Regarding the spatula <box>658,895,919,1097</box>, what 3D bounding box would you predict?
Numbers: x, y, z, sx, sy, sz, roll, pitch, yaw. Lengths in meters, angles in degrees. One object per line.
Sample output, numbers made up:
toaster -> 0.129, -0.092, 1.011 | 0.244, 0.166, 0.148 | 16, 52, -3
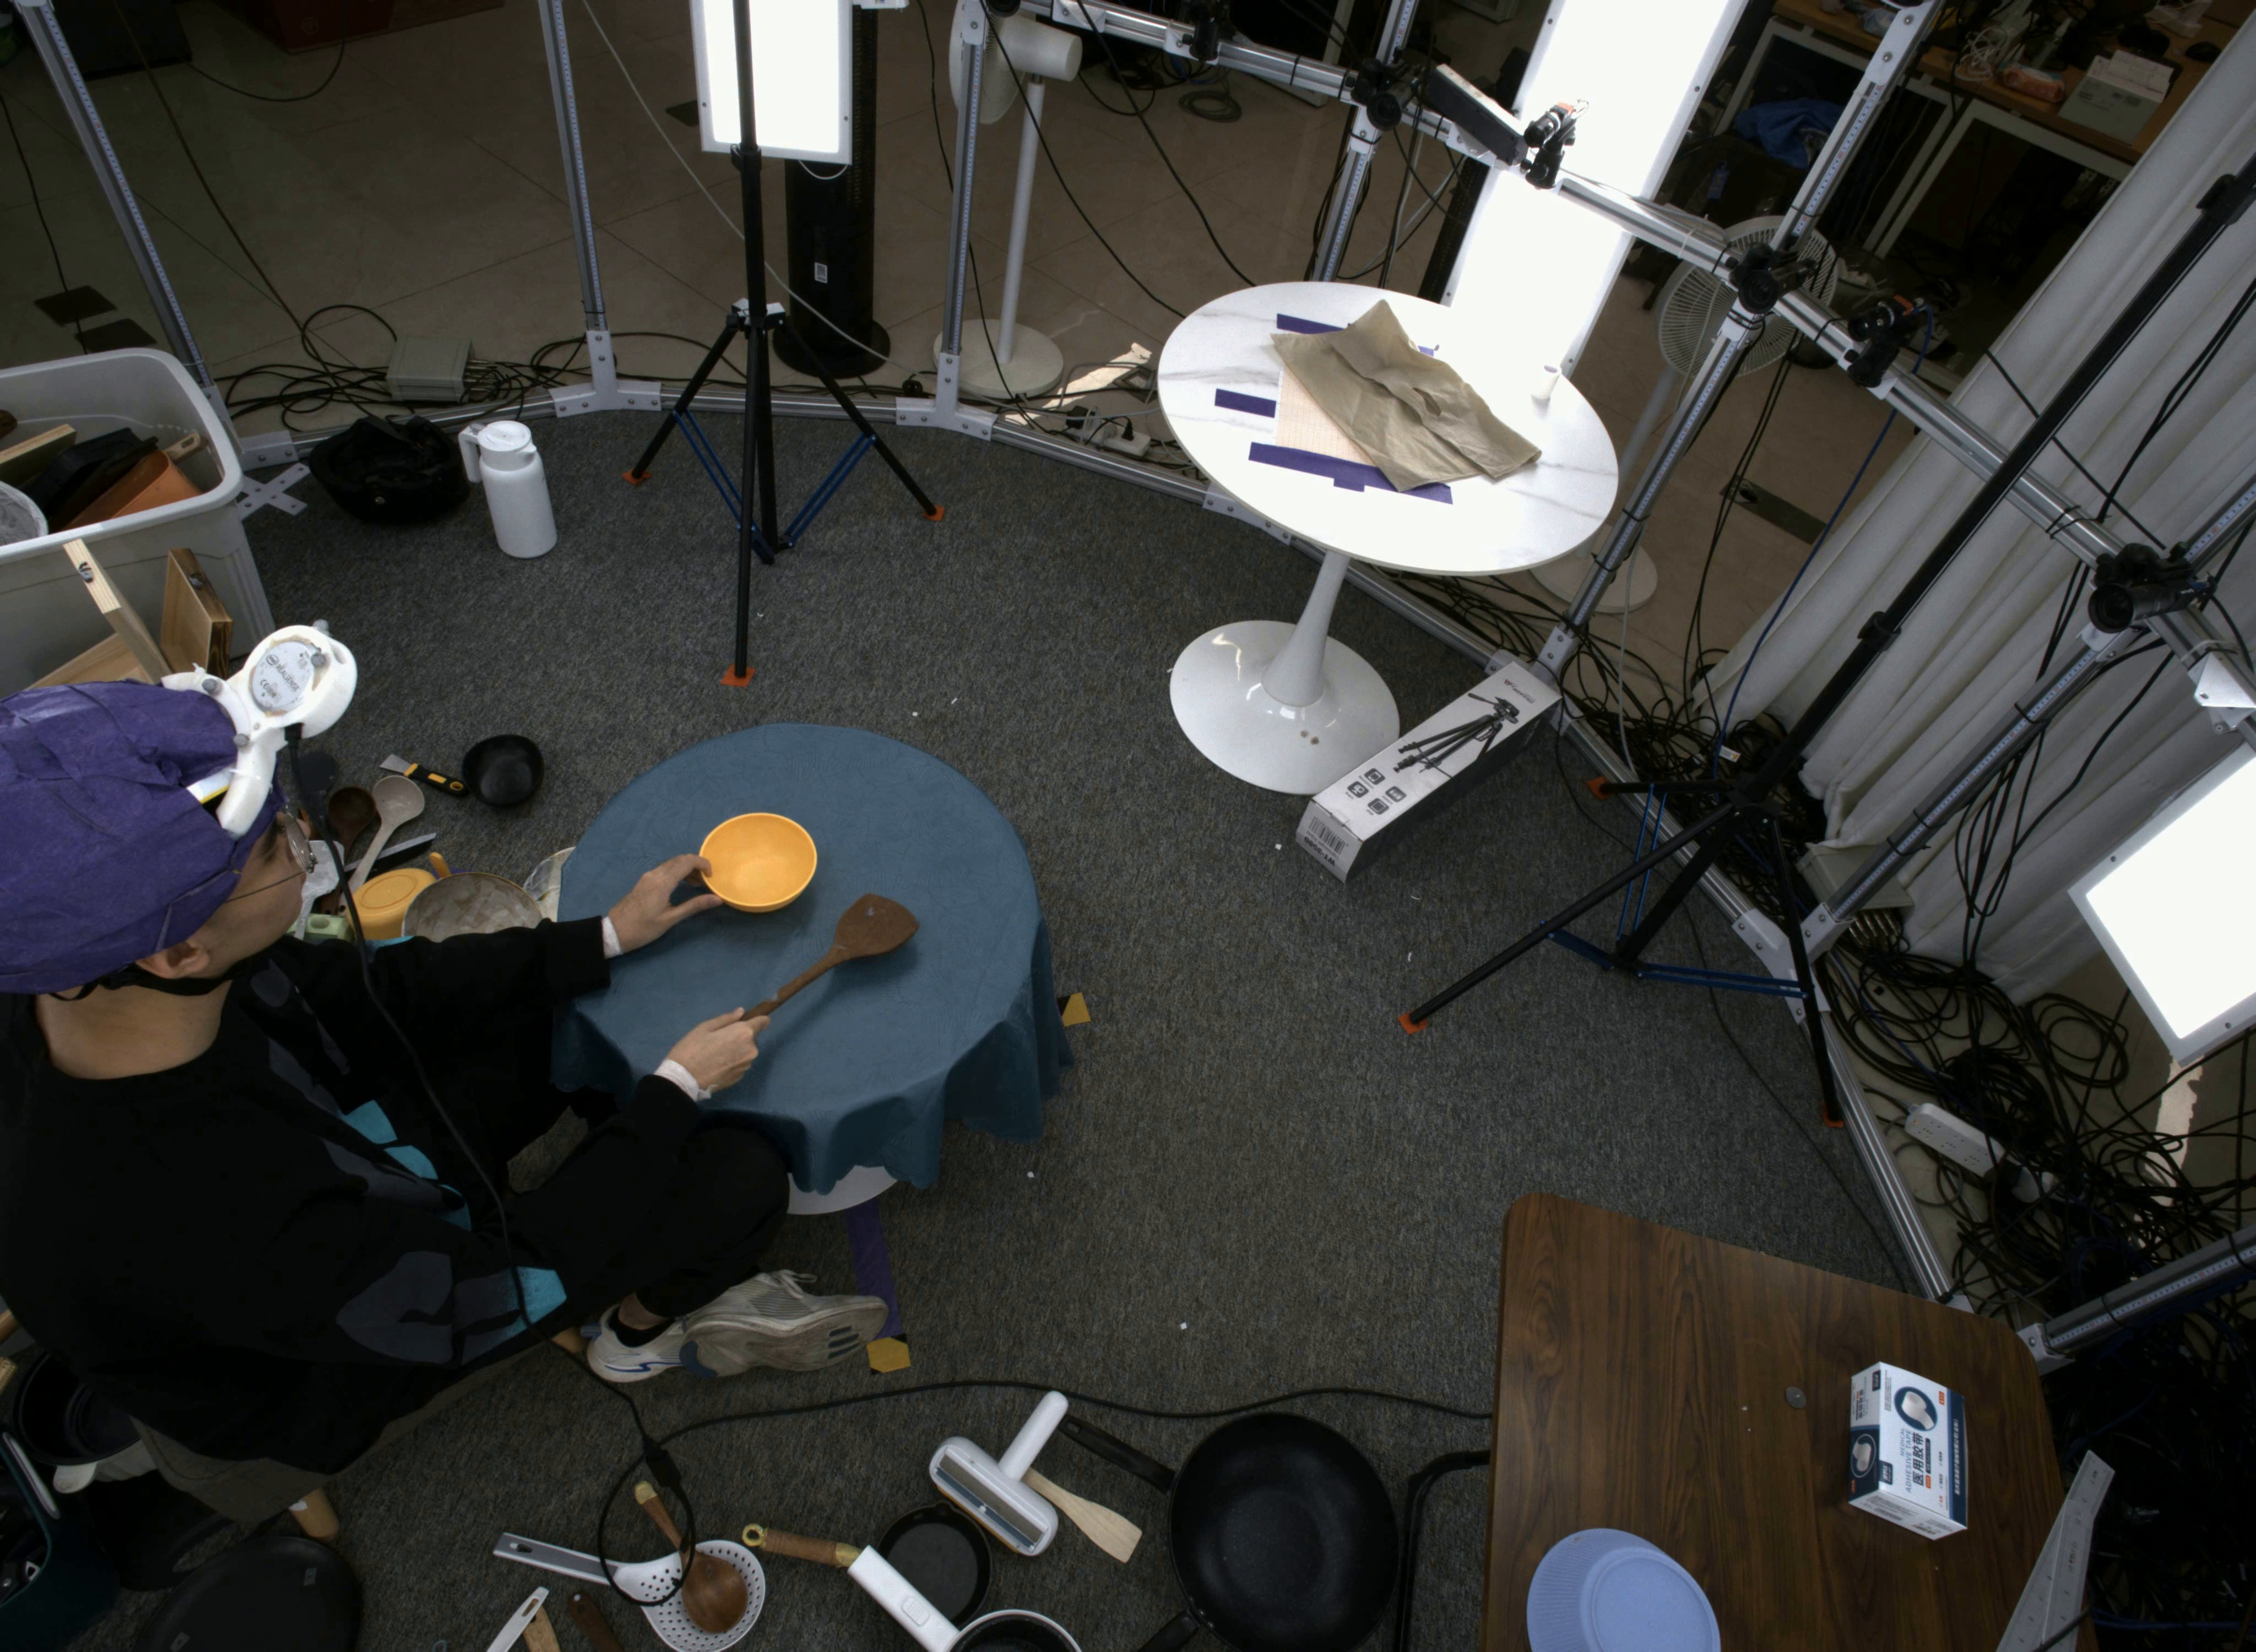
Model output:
spatula -> -0.398, 0.192, 1.517 | 0.093, 0.016, 0.386 | 27, 43, 24

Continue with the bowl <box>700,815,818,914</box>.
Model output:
bowl -> -0.464, 0.058, 1.640 | 0.144, 0.061, 0.143 | 6, 52, -6
